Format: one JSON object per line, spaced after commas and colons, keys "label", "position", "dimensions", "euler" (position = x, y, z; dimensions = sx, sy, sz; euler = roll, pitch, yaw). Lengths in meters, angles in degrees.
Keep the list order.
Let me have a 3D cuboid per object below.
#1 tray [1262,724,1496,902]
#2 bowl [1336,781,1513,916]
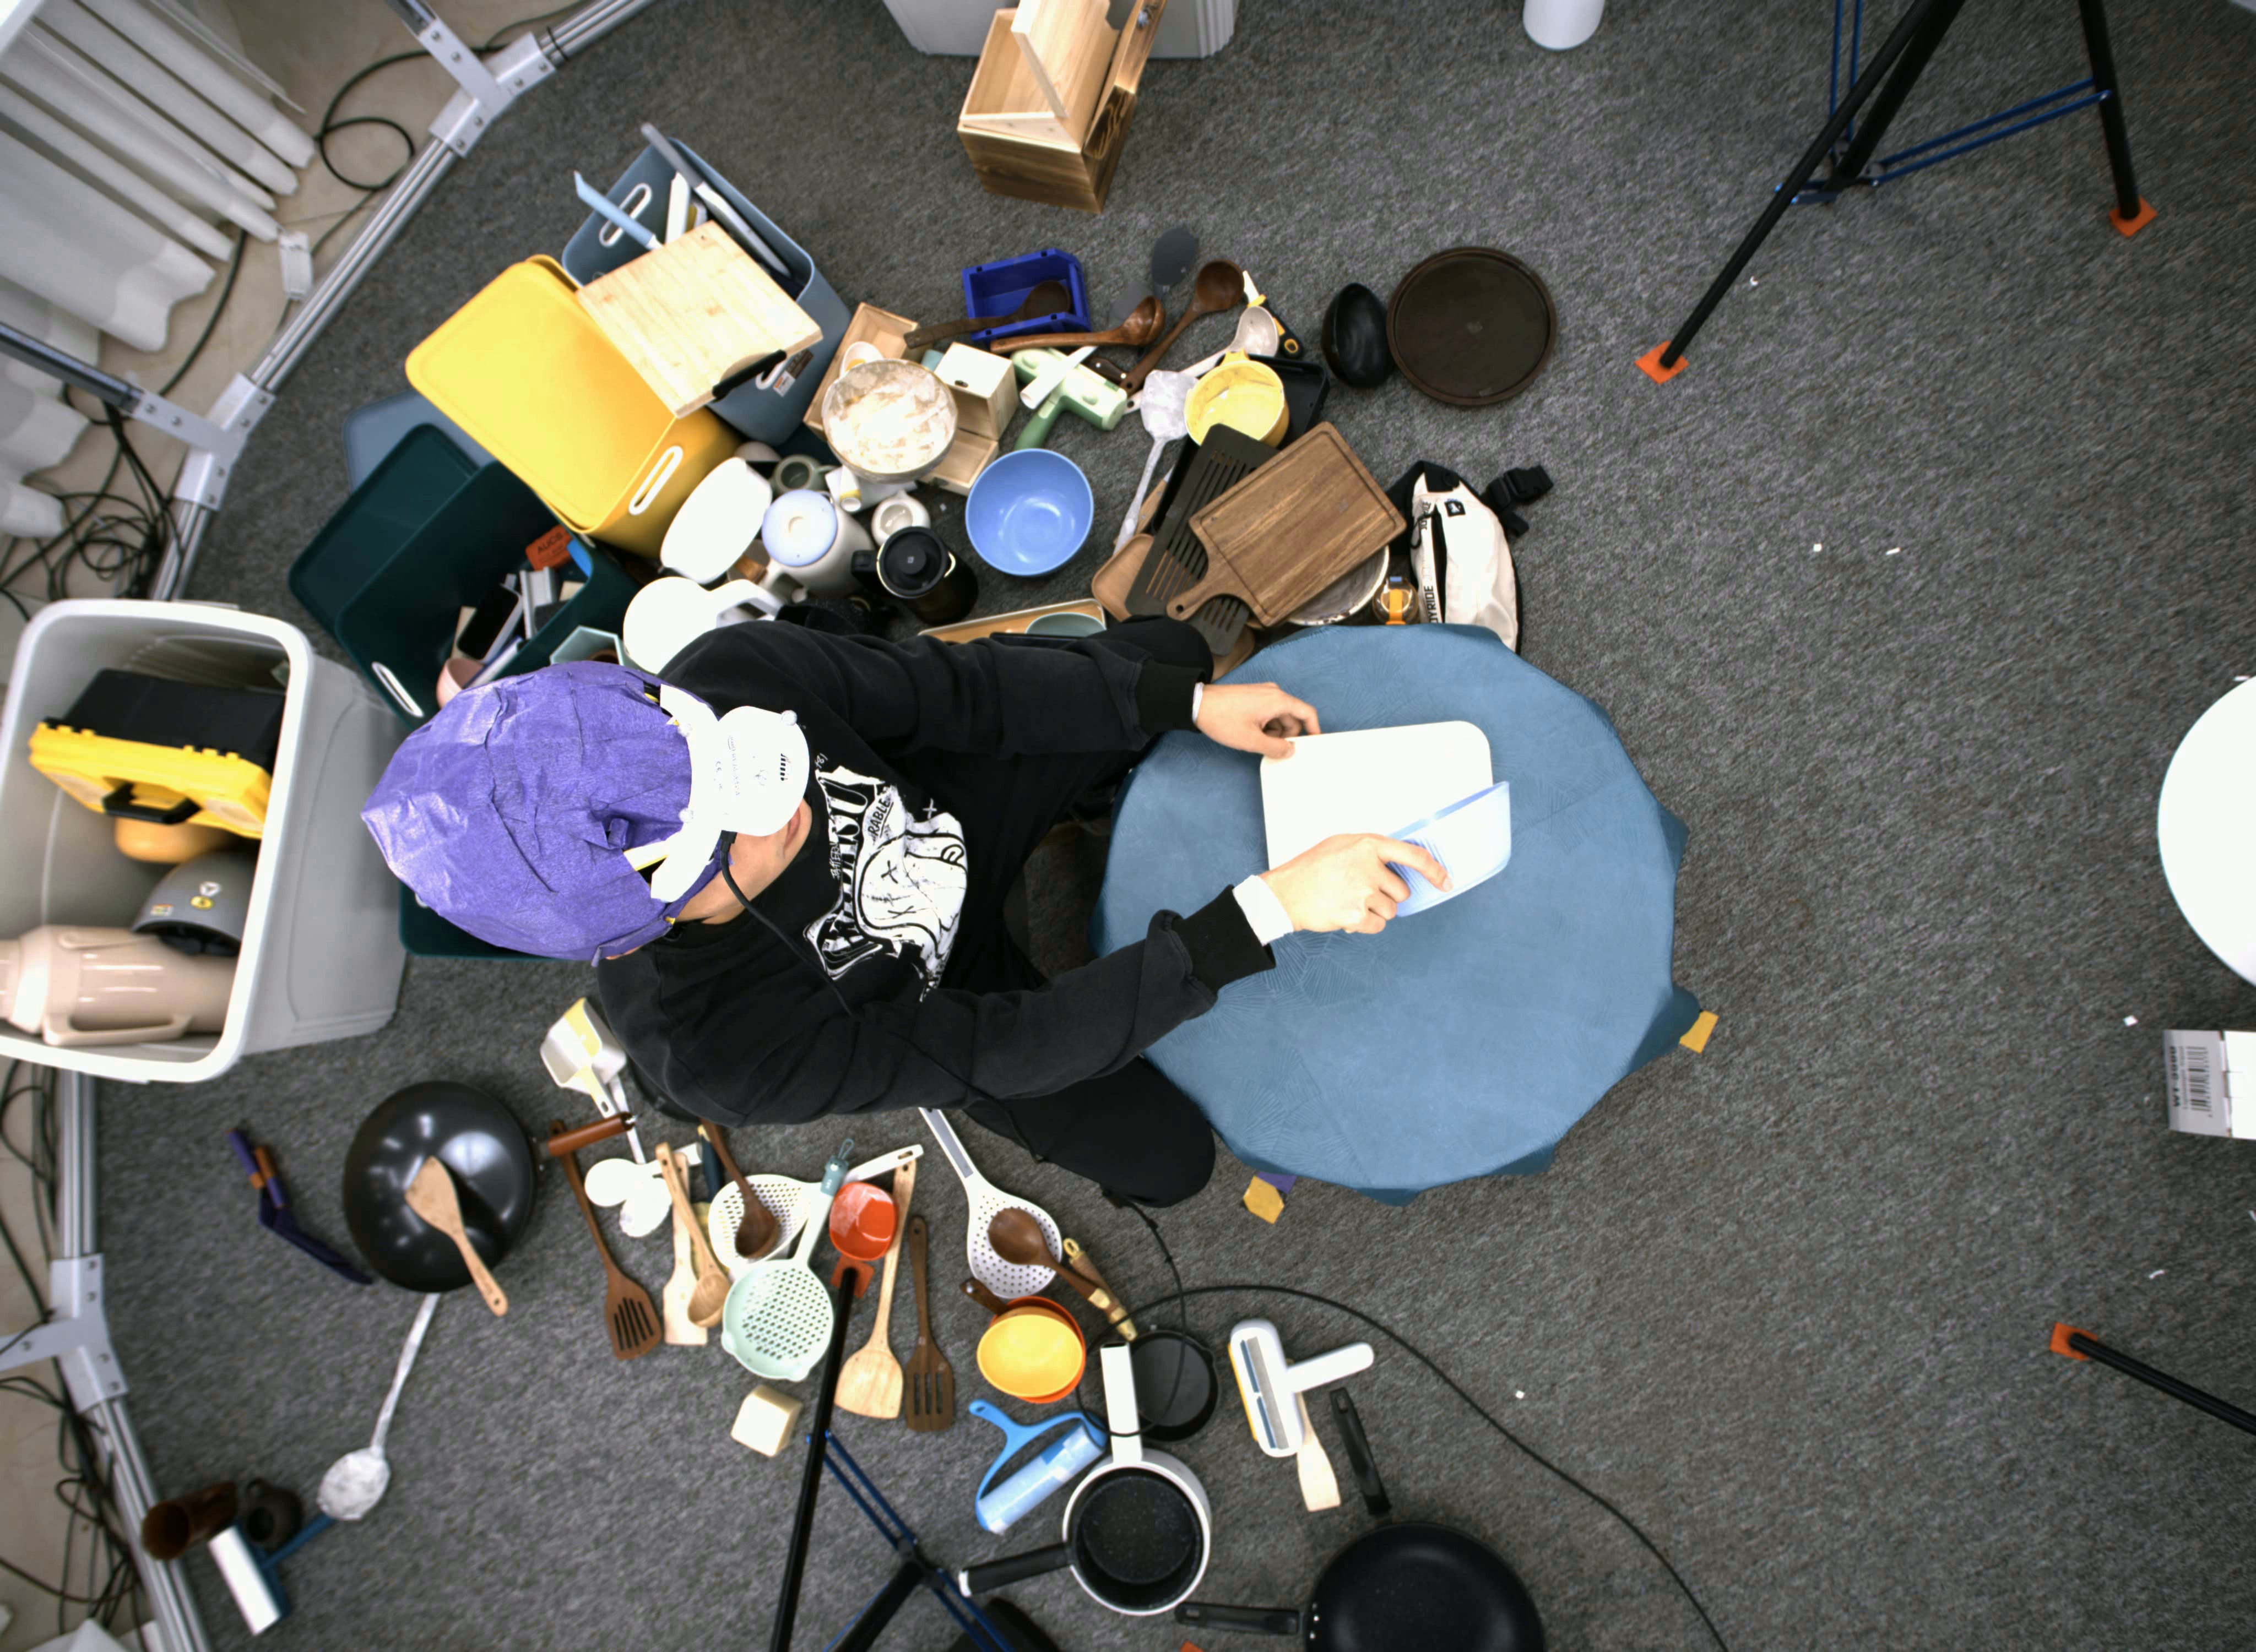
{"label": "tray", "position": [0.264, -0.015, 1.444], "dimensions": [0.240, 0.017, 0.171], "euler": [-5, 92, 4]}
{"label": "bowl", "position": [0.281, 0.026, 1.253], "dimensions": [0.177, 0.175, 0.070], "euler": [-27, 88, 6]}
